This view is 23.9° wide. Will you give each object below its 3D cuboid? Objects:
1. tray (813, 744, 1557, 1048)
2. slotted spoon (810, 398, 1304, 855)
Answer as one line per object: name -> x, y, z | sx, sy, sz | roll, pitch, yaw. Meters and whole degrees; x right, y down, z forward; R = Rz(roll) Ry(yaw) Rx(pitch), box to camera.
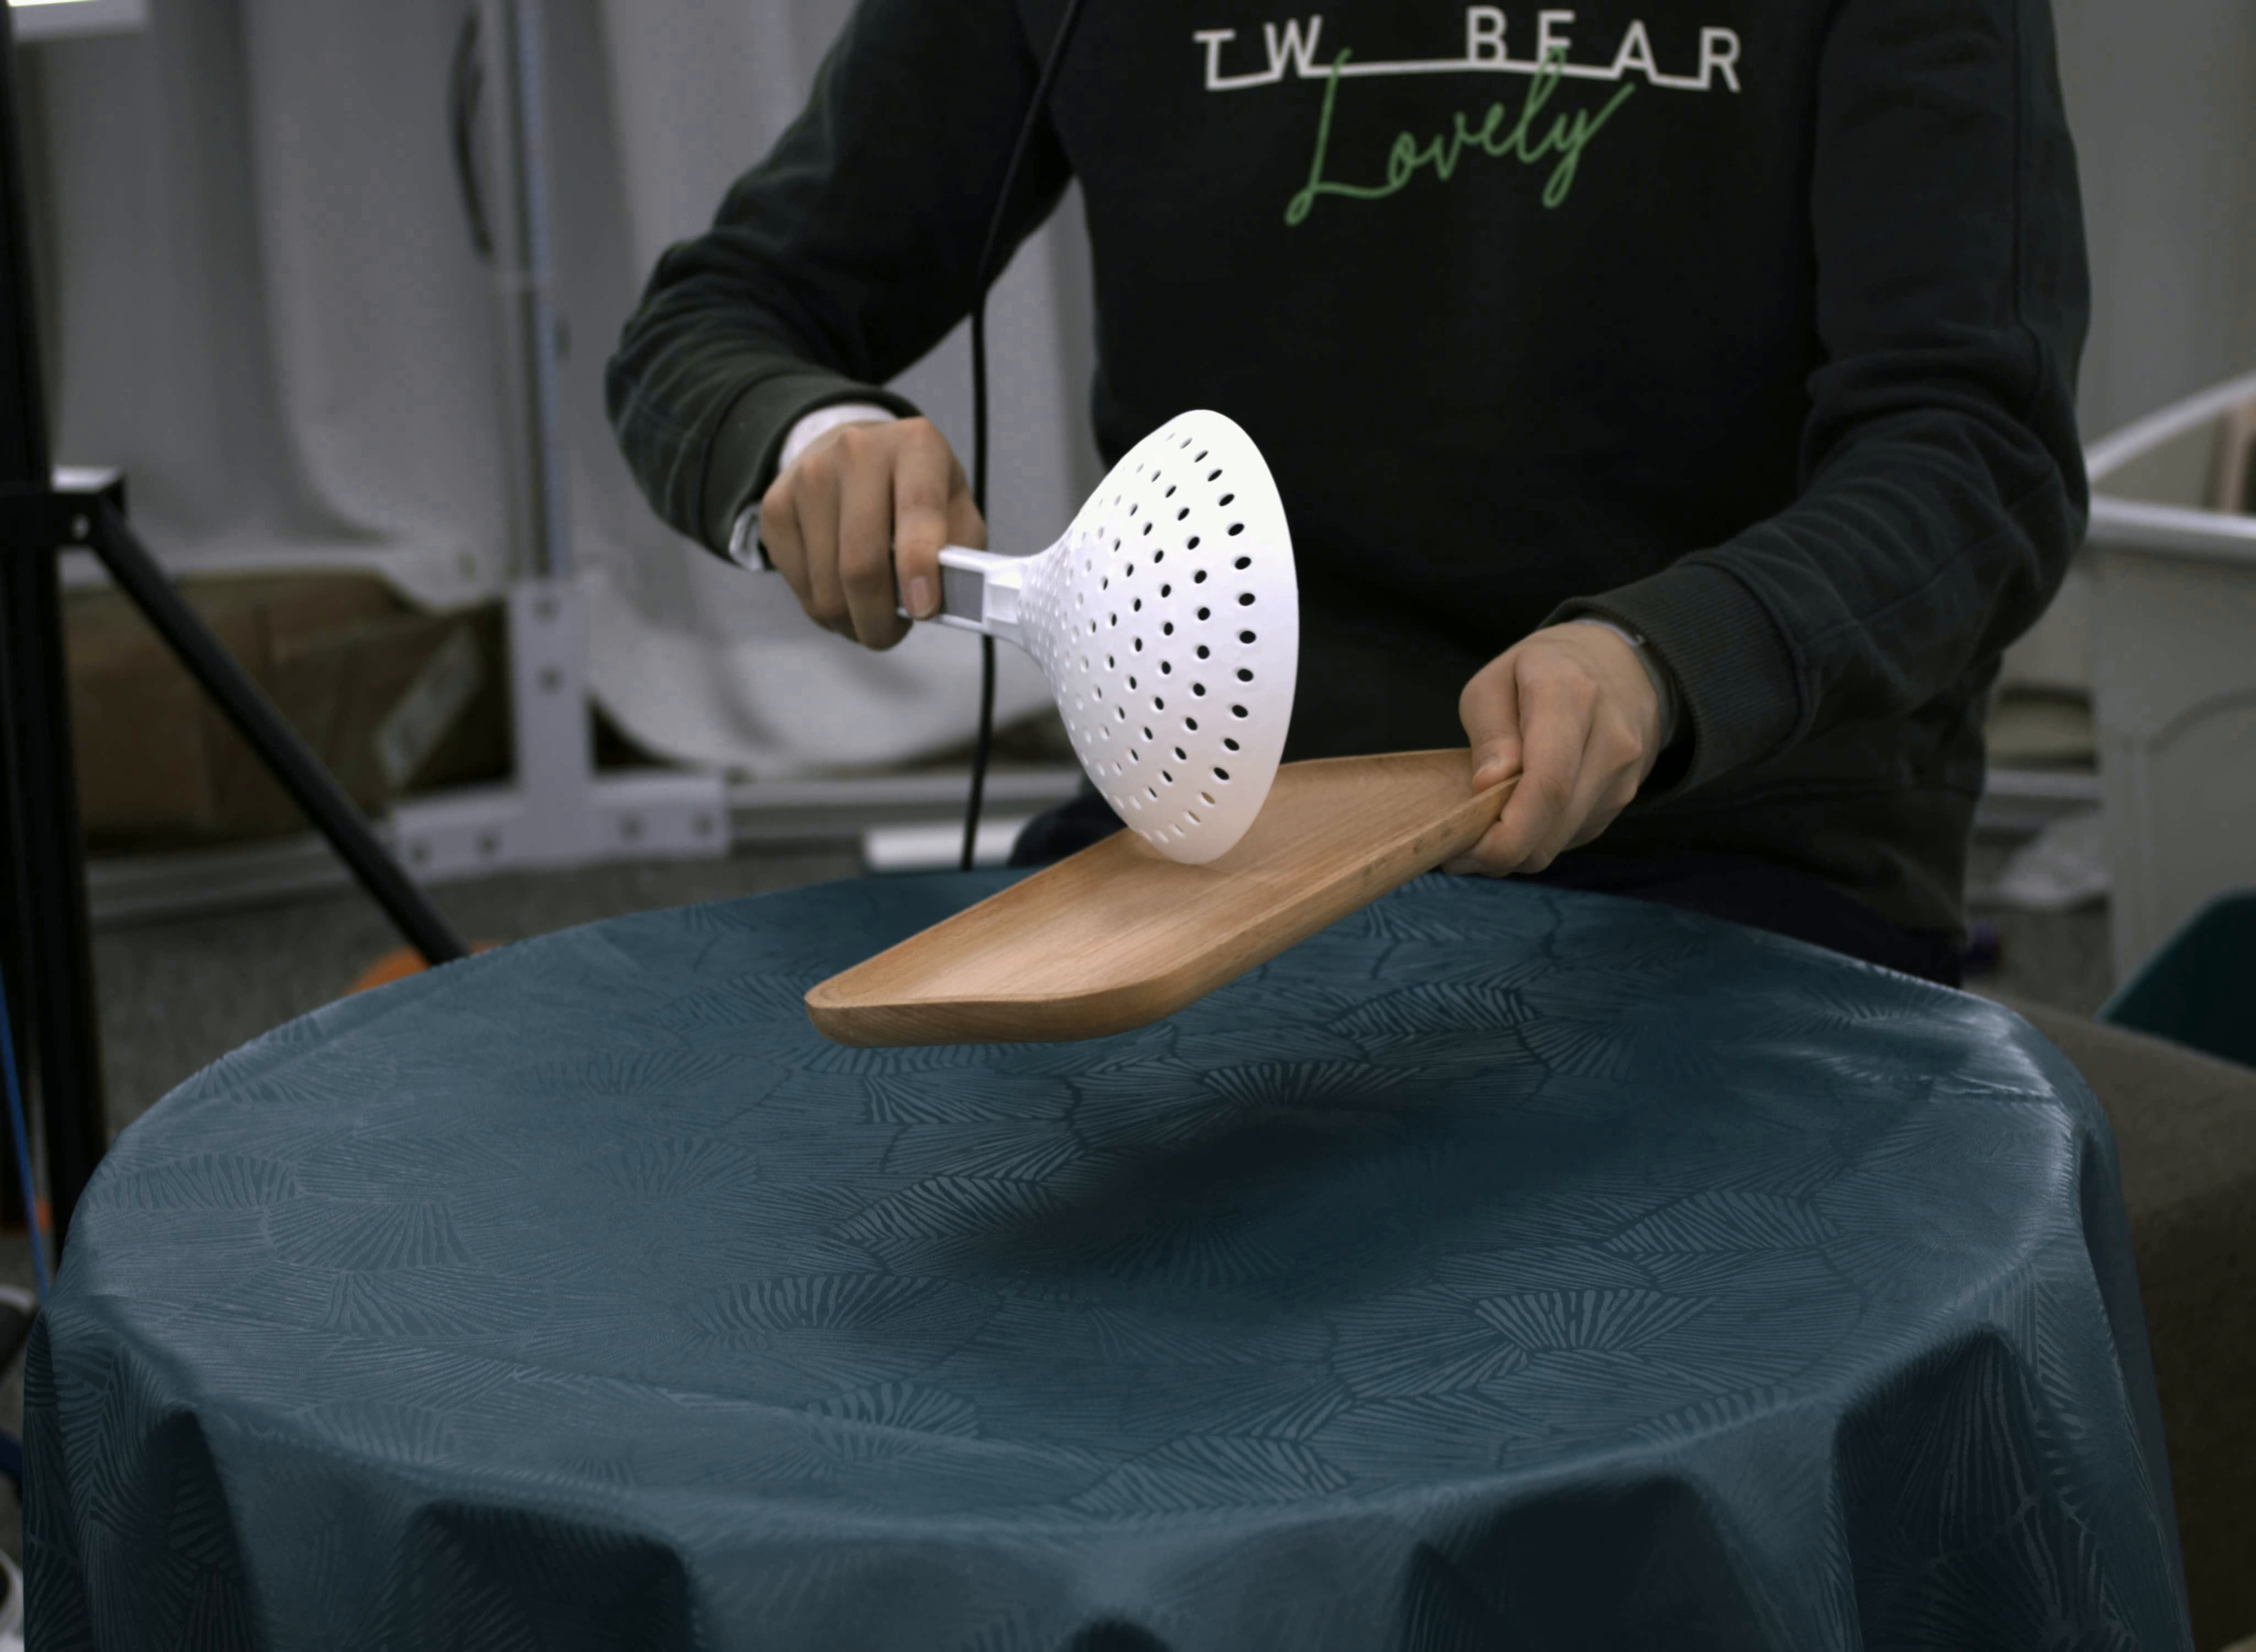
tray -> 0.021, 0.019, 1.562 | 0.133, 0.023, 0.246 | -2, 15, 38
slotted spoon -> -0.031, -0.070, 1.691 | 0.045, 0.136, 0.355 | 3, 4, -20
